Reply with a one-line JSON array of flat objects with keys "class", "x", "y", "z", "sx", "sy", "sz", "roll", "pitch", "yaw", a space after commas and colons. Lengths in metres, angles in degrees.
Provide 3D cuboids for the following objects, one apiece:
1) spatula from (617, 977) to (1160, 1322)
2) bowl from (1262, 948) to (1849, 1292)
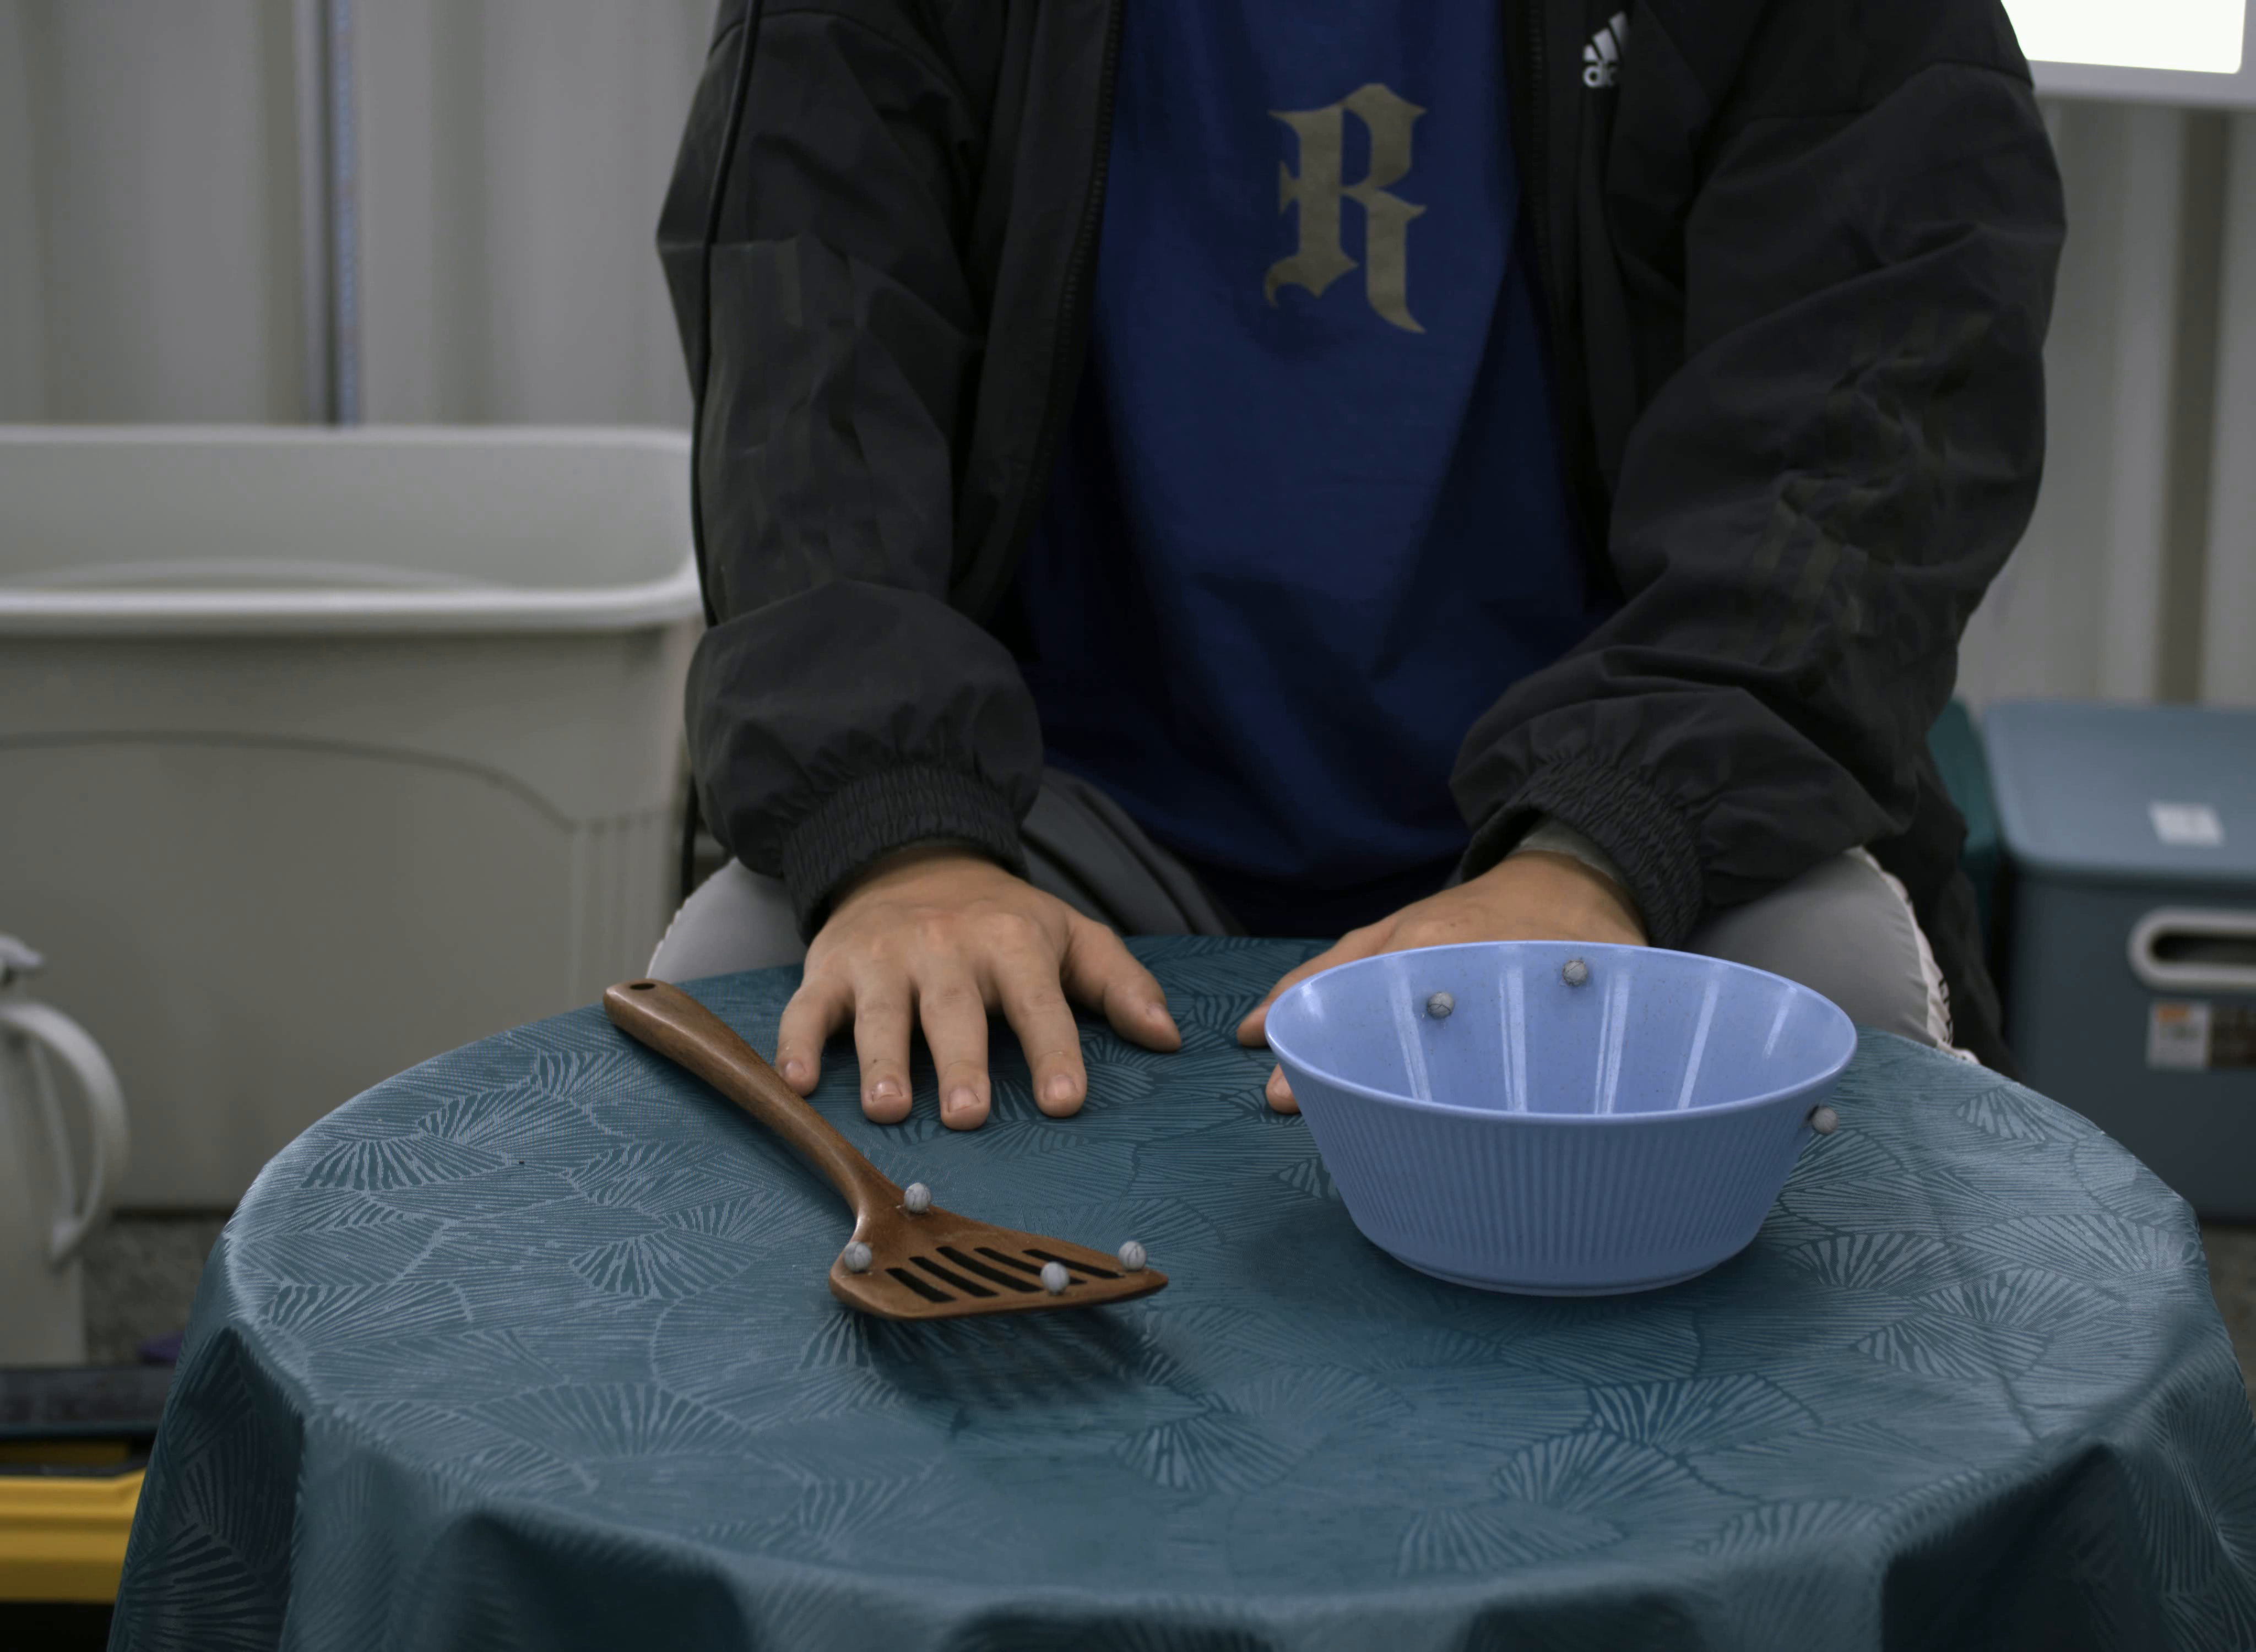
[{"class": "spatula", "x": -0.095, "y": 0.100, "z": 1.627, "sx": 0.086, "sy": 0.024, "sz": 0.382, "roll": -5, "pitch": 15, "yaw": -22}, {"class": "bowl", "x": 0.127, "y": 0.090, "z": 1.576, "sx": 0.175, "sy": 0.071, "sz": 0.175, "roll": 1, "pitch": 14, "yaw": 0}]
